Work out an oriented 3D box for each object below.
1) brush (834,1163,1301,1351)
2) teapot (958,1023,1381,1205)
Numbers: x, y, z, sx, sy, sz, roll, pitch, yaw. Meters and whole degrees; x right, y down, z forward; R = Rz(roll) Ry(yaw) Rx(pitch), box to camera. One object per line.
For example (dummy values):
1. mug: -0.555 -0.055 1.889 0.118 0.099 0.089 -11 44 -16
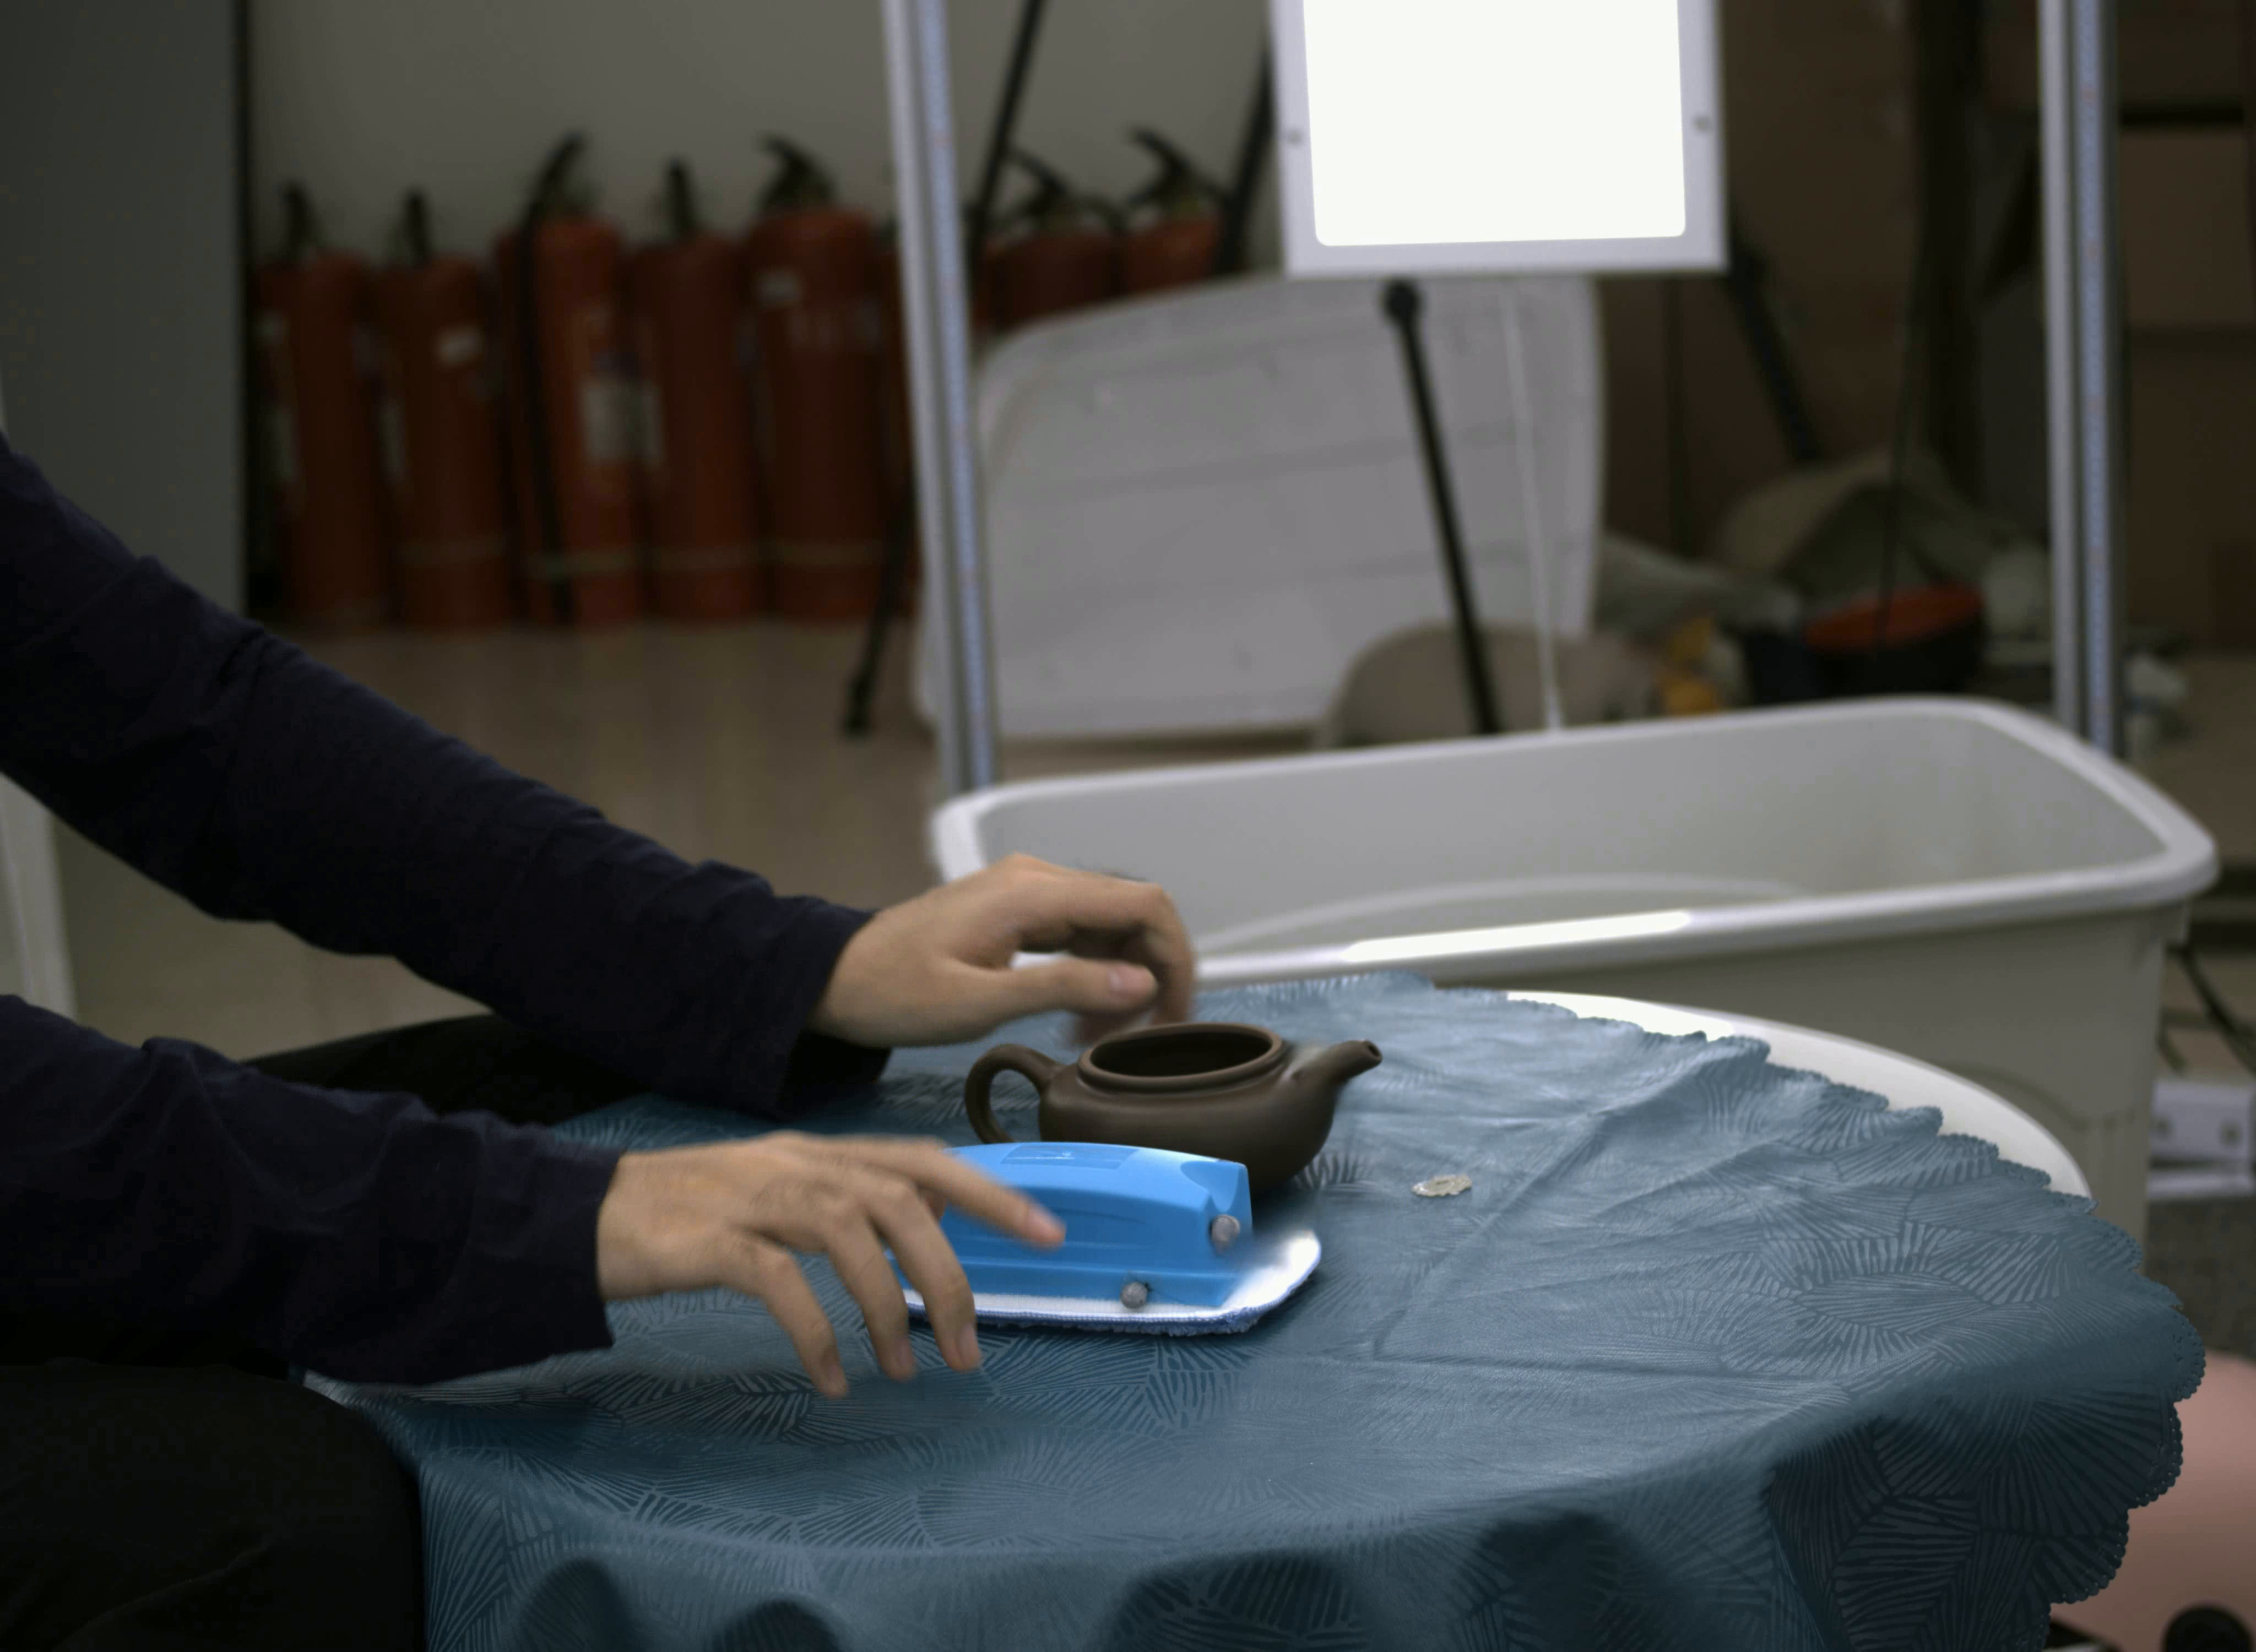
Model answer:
1. brush: -0.019 0.139 1.781 0.146 0.056 0.082 3 8 27
2. teapot: 0.015 0.098 1.898 0.155 0.054 0.101 -1 13 17
